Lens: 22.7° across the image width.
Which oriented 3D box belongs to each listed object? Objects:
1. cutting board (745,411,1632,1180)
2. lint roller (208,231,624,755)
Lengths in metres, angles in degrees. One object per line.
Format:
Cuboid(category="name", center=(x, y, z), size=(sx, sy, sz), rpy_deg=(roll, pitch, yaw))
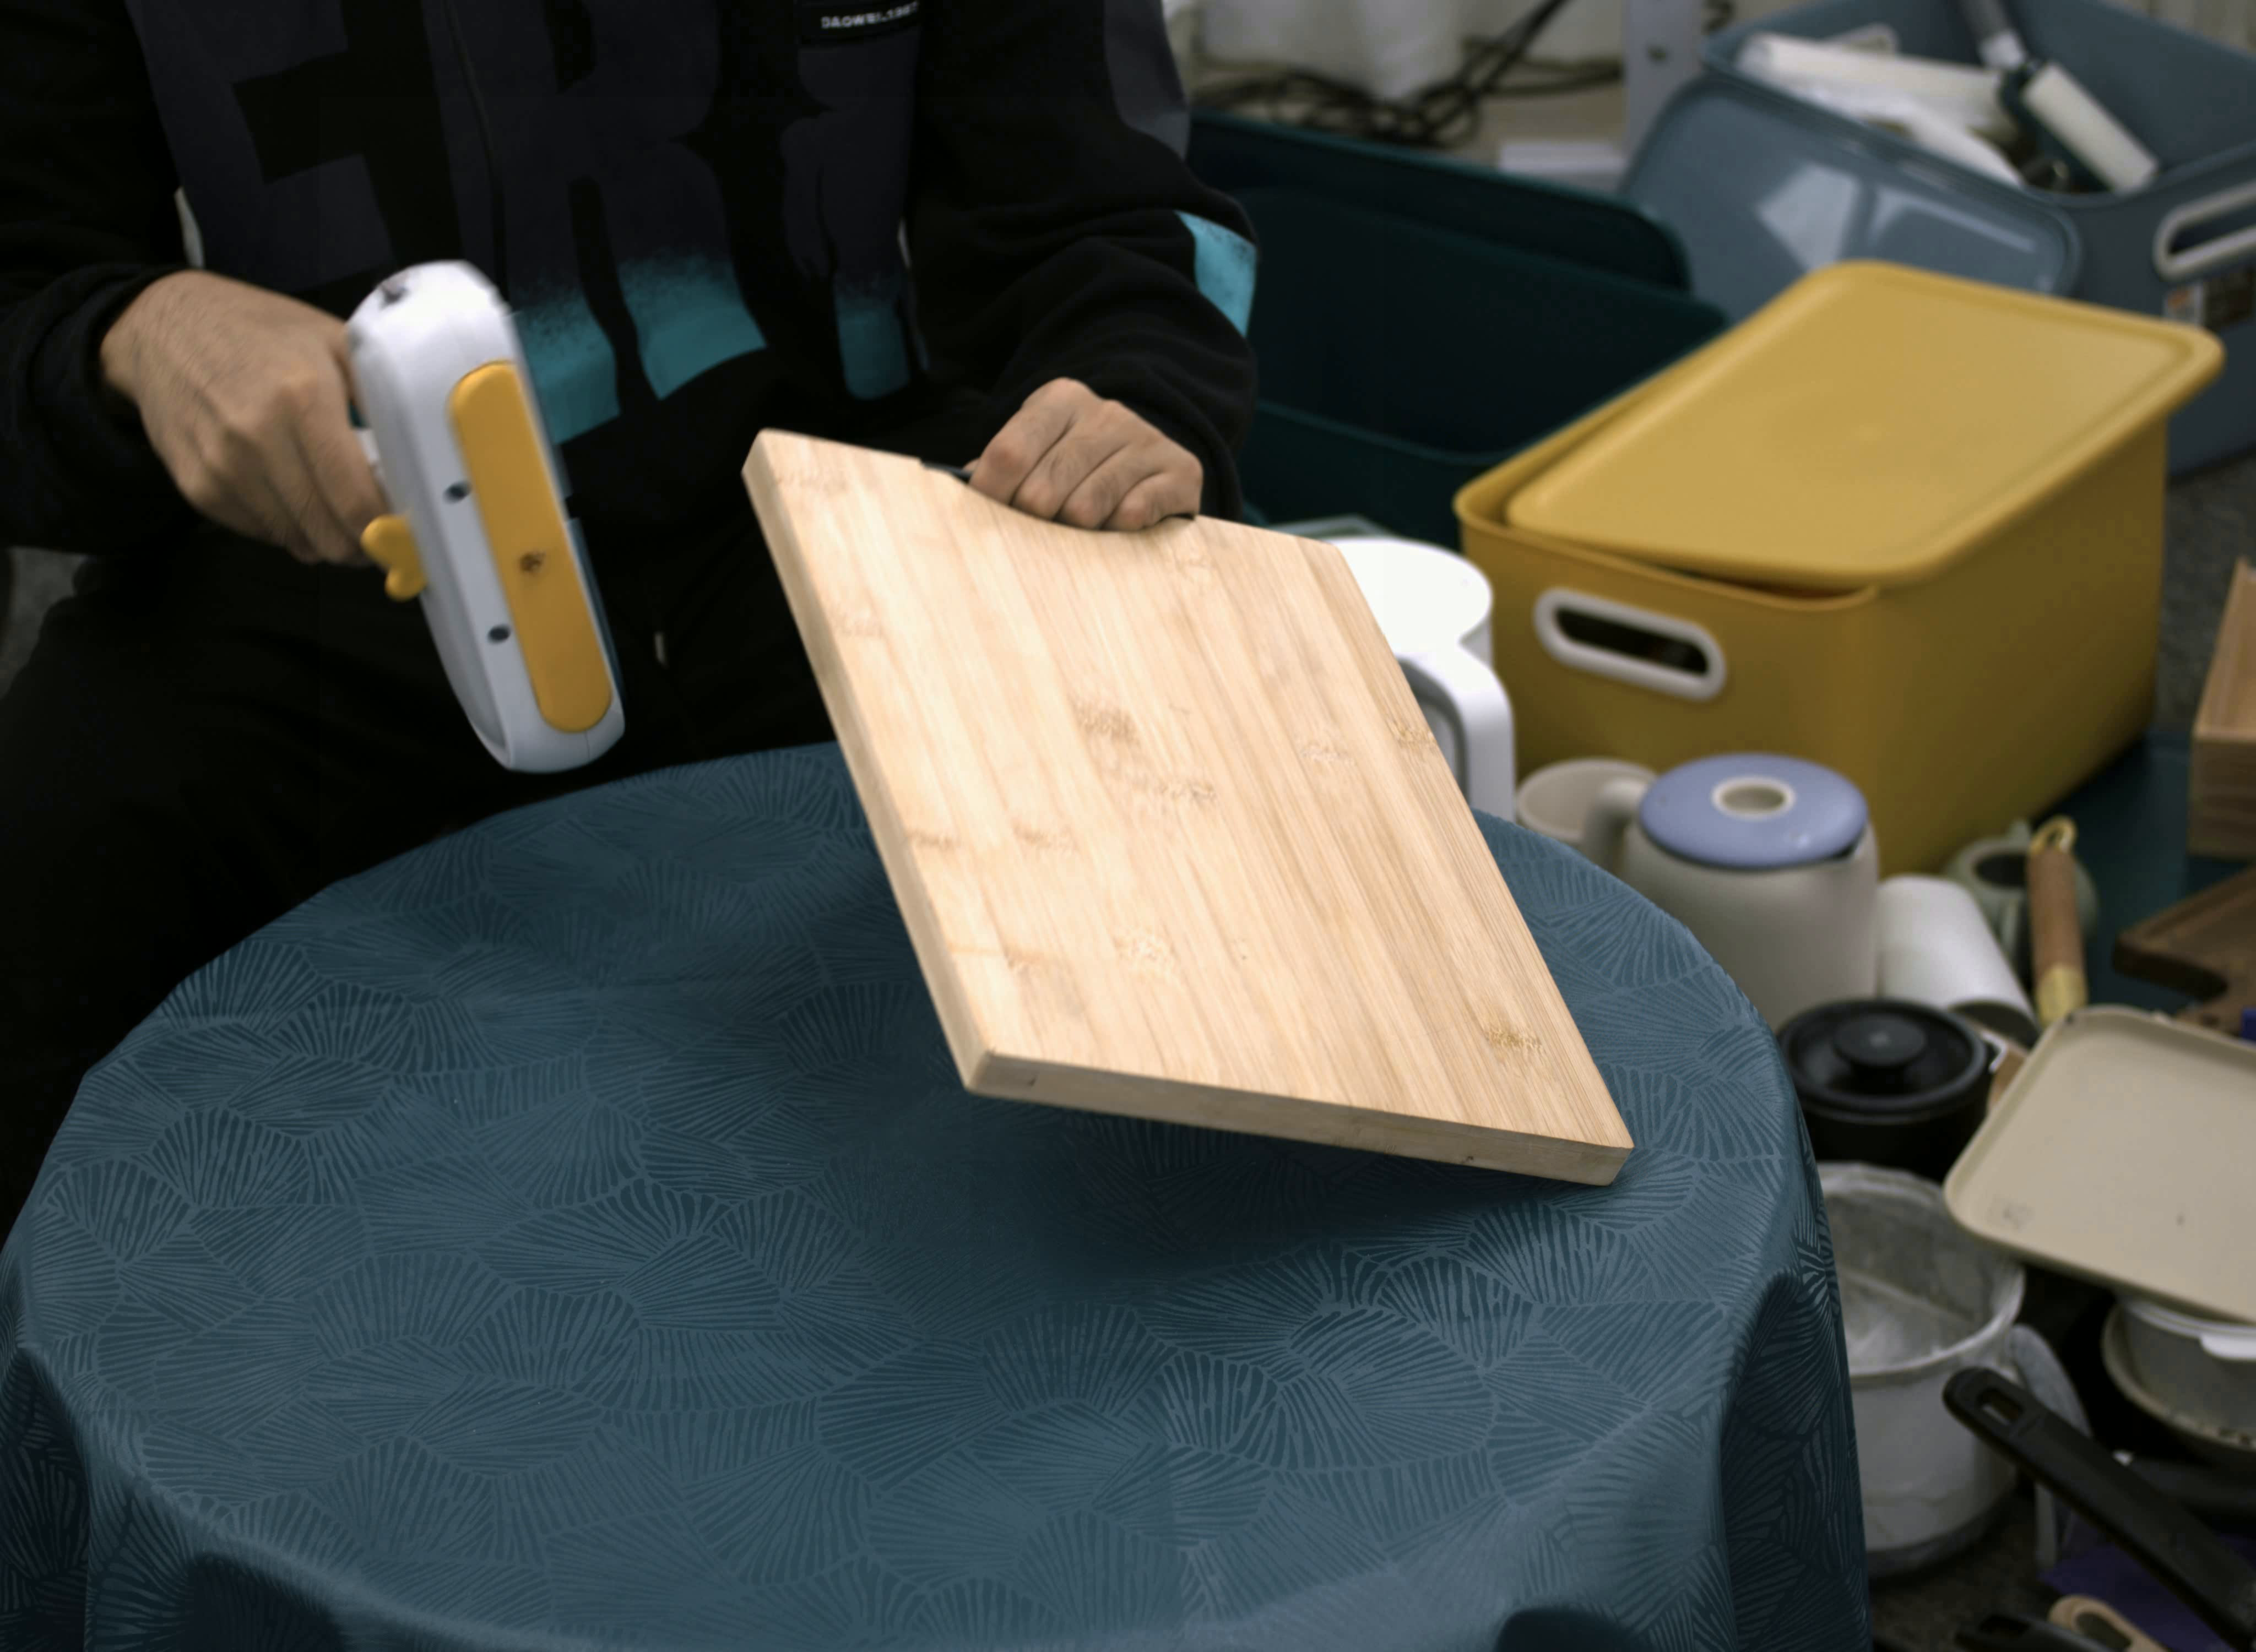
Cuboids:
Cuboid(category="cutting board", center=(0.014, -0.015, 1.926), size=(0.250, 0.023, 0.354), rpy_deg=(11, 34, -27))
Cuboid(category="lint roller", center=(-0.263, -0.125, 2.019), size=(0.075, 0.191, 0.192), rpy_deg=(-32, 30, -25))
